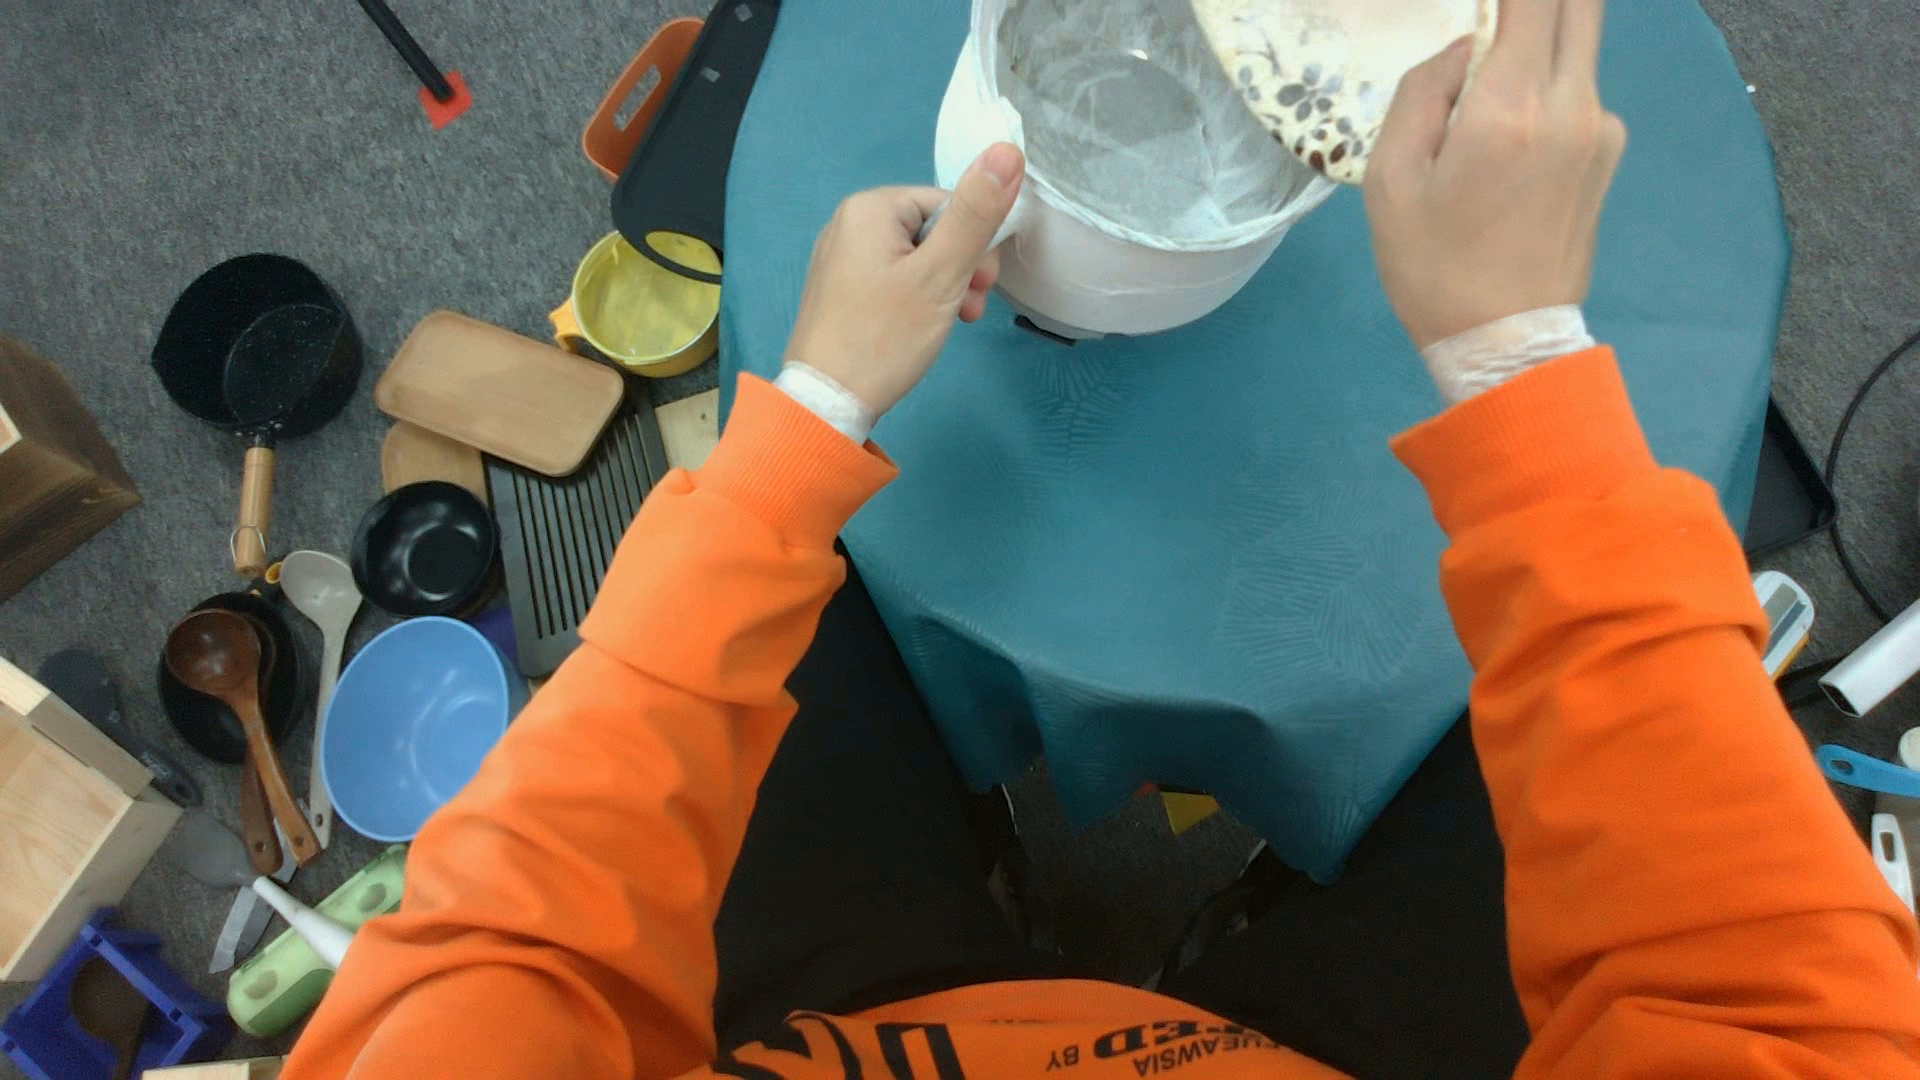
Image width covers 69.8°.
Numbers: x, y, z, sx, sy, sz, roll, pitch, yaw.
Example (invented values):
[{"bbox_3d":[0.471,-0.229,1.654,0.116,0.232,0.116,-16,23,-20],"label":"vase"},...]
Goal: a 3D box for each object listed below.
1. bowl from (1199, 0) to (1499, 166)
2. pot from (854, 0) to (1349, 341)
[{"bbox_3d":[0.162,-0.255,0.531,0.078,0.203,0.204,-29,73,-10],"label":"bowl"},{"bbox_3d":[0.052,-0.182,0.640,0.234,0.136,0.179,-41,88,-16],"label":"pot"}]
